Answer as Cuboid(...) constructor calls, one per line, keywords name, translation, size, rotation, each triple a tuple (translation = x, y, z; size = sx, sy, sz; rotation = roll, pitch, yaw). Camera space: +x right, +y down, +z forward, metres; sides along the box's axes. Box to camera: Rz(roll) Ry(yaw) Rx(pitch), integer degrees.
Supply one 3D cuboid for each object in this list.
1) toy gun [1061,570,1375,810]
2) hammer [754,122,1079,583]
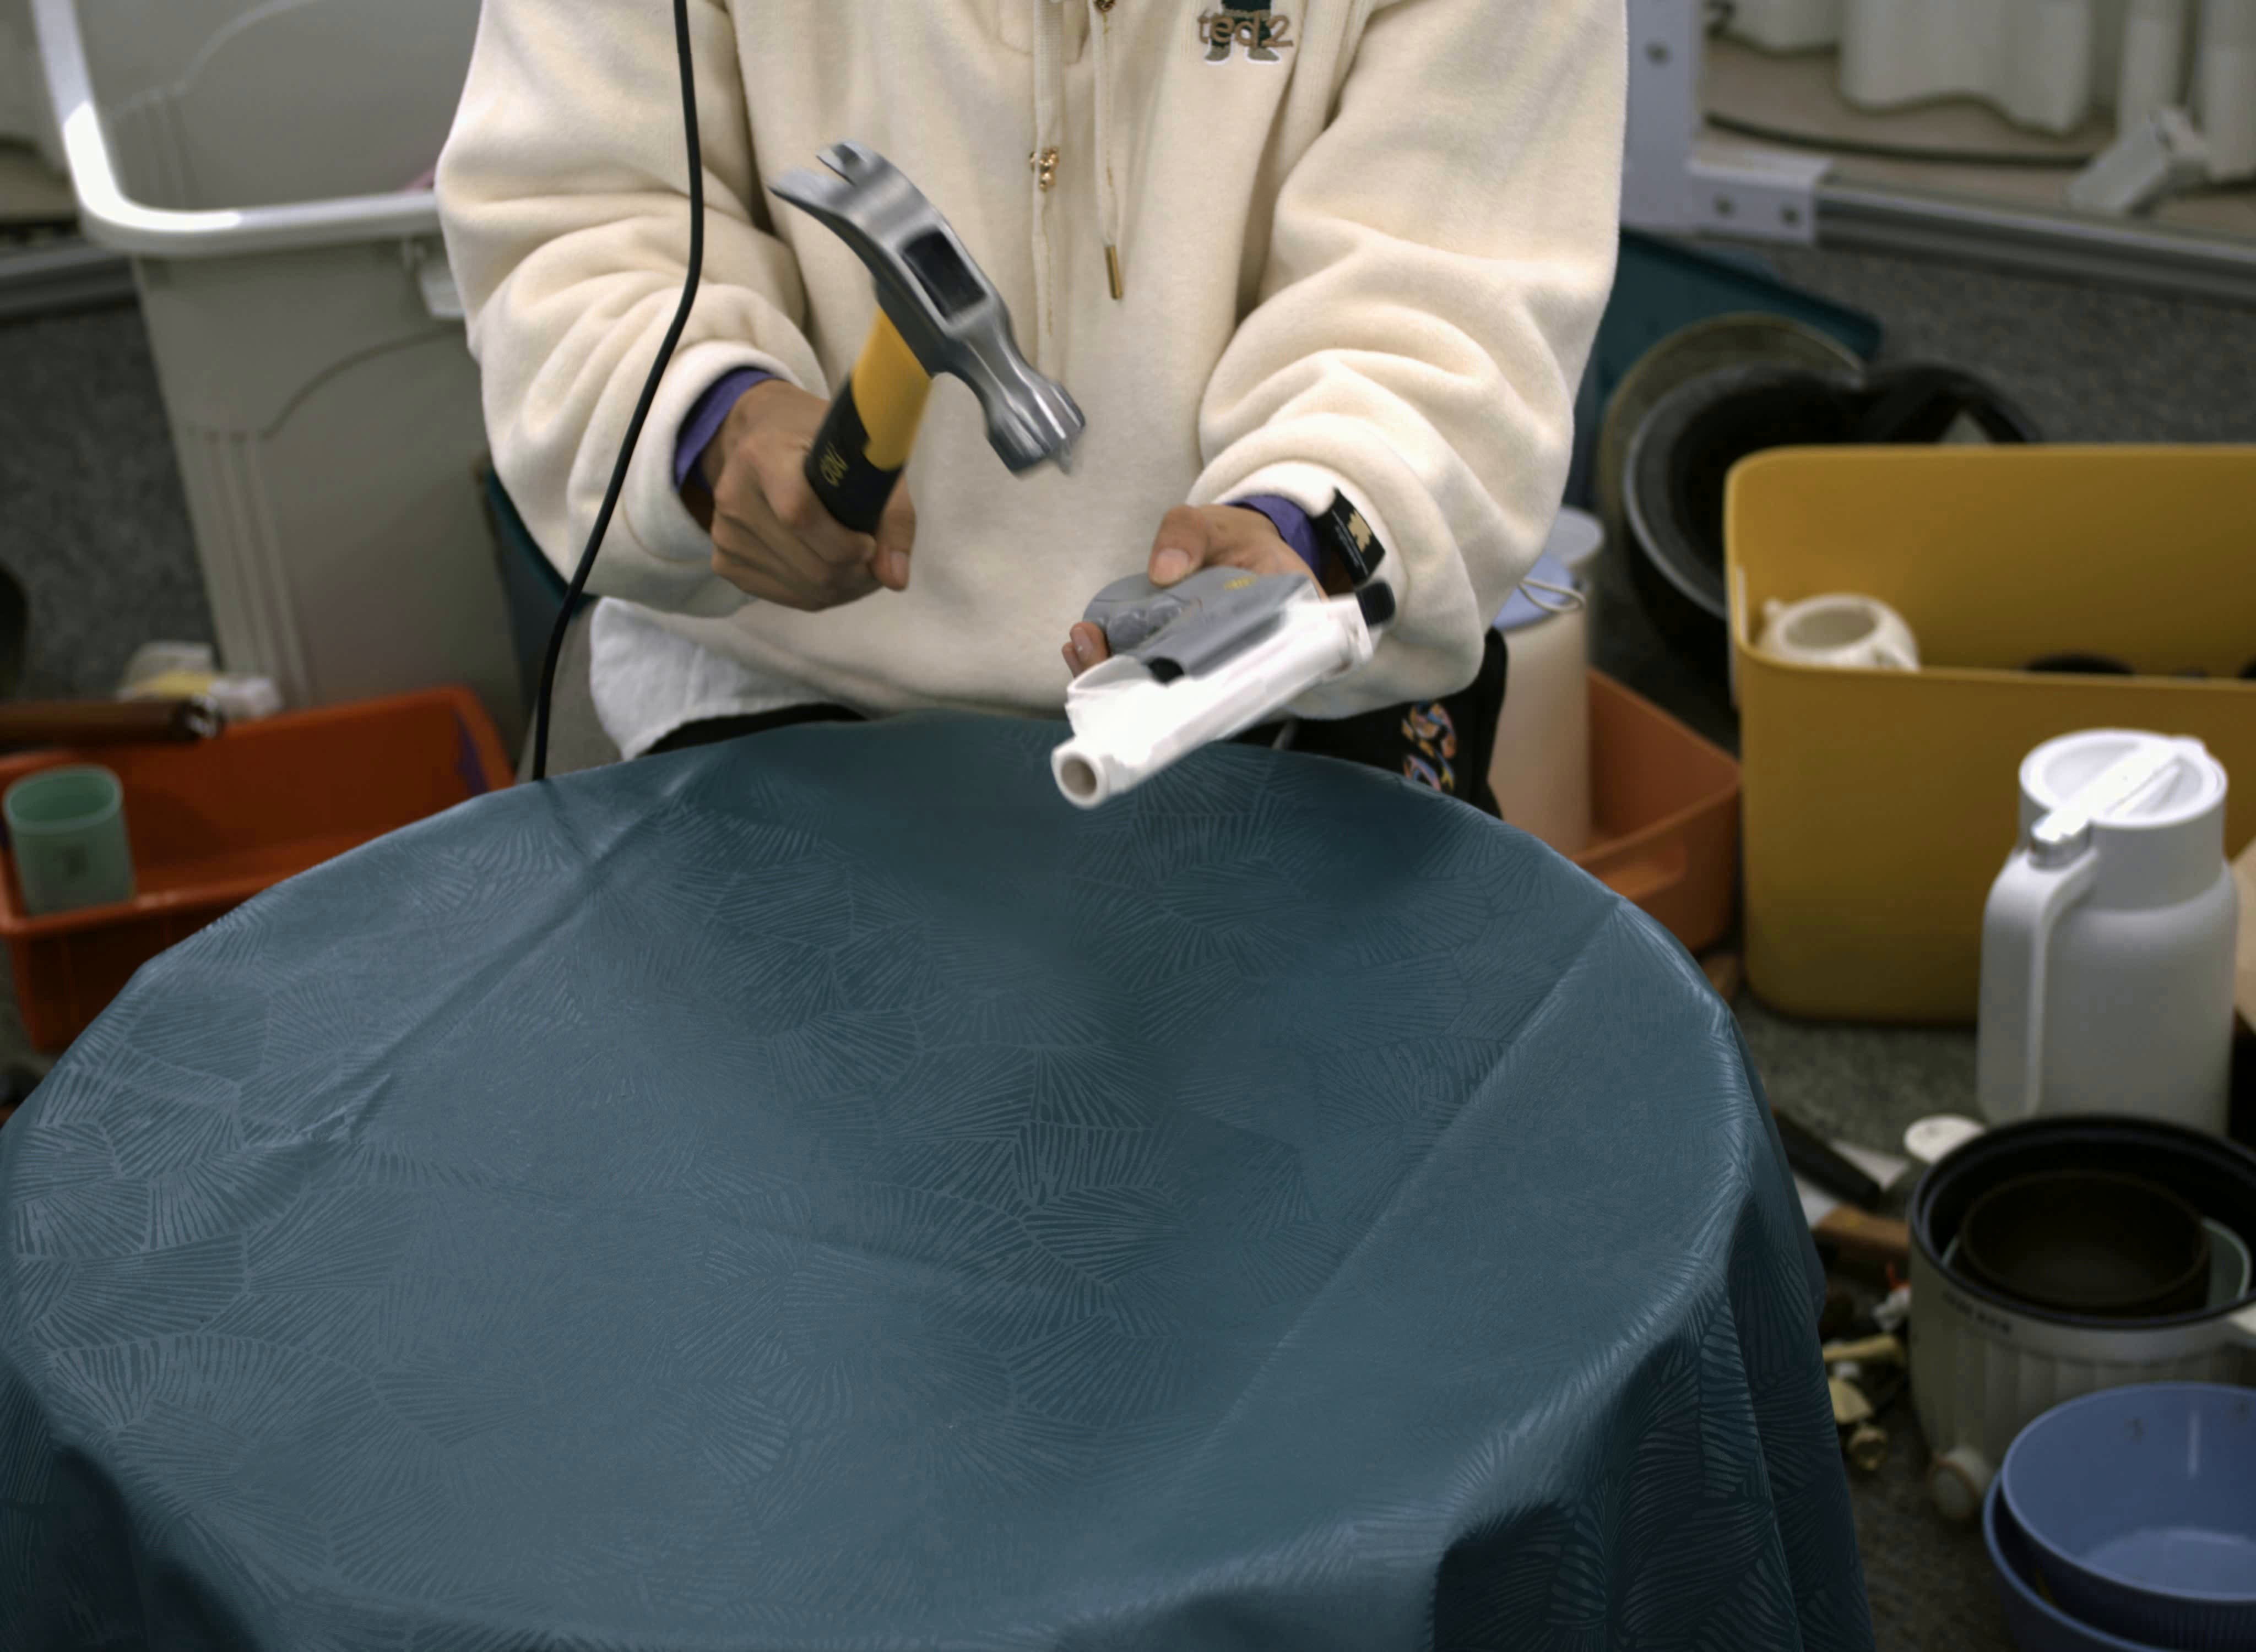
Cuboid(name="toy gun", translation=(0.007, -0.046, 1.826), size=(0.140, 0.038, 0.212), rotation=(-4, 17, 36))
Cuboid(name="hammer", translation=(-0.087, -0.144, 1.939), size=(0.032, 0.132, 0.335), rotation=(-36, -6, -14))
